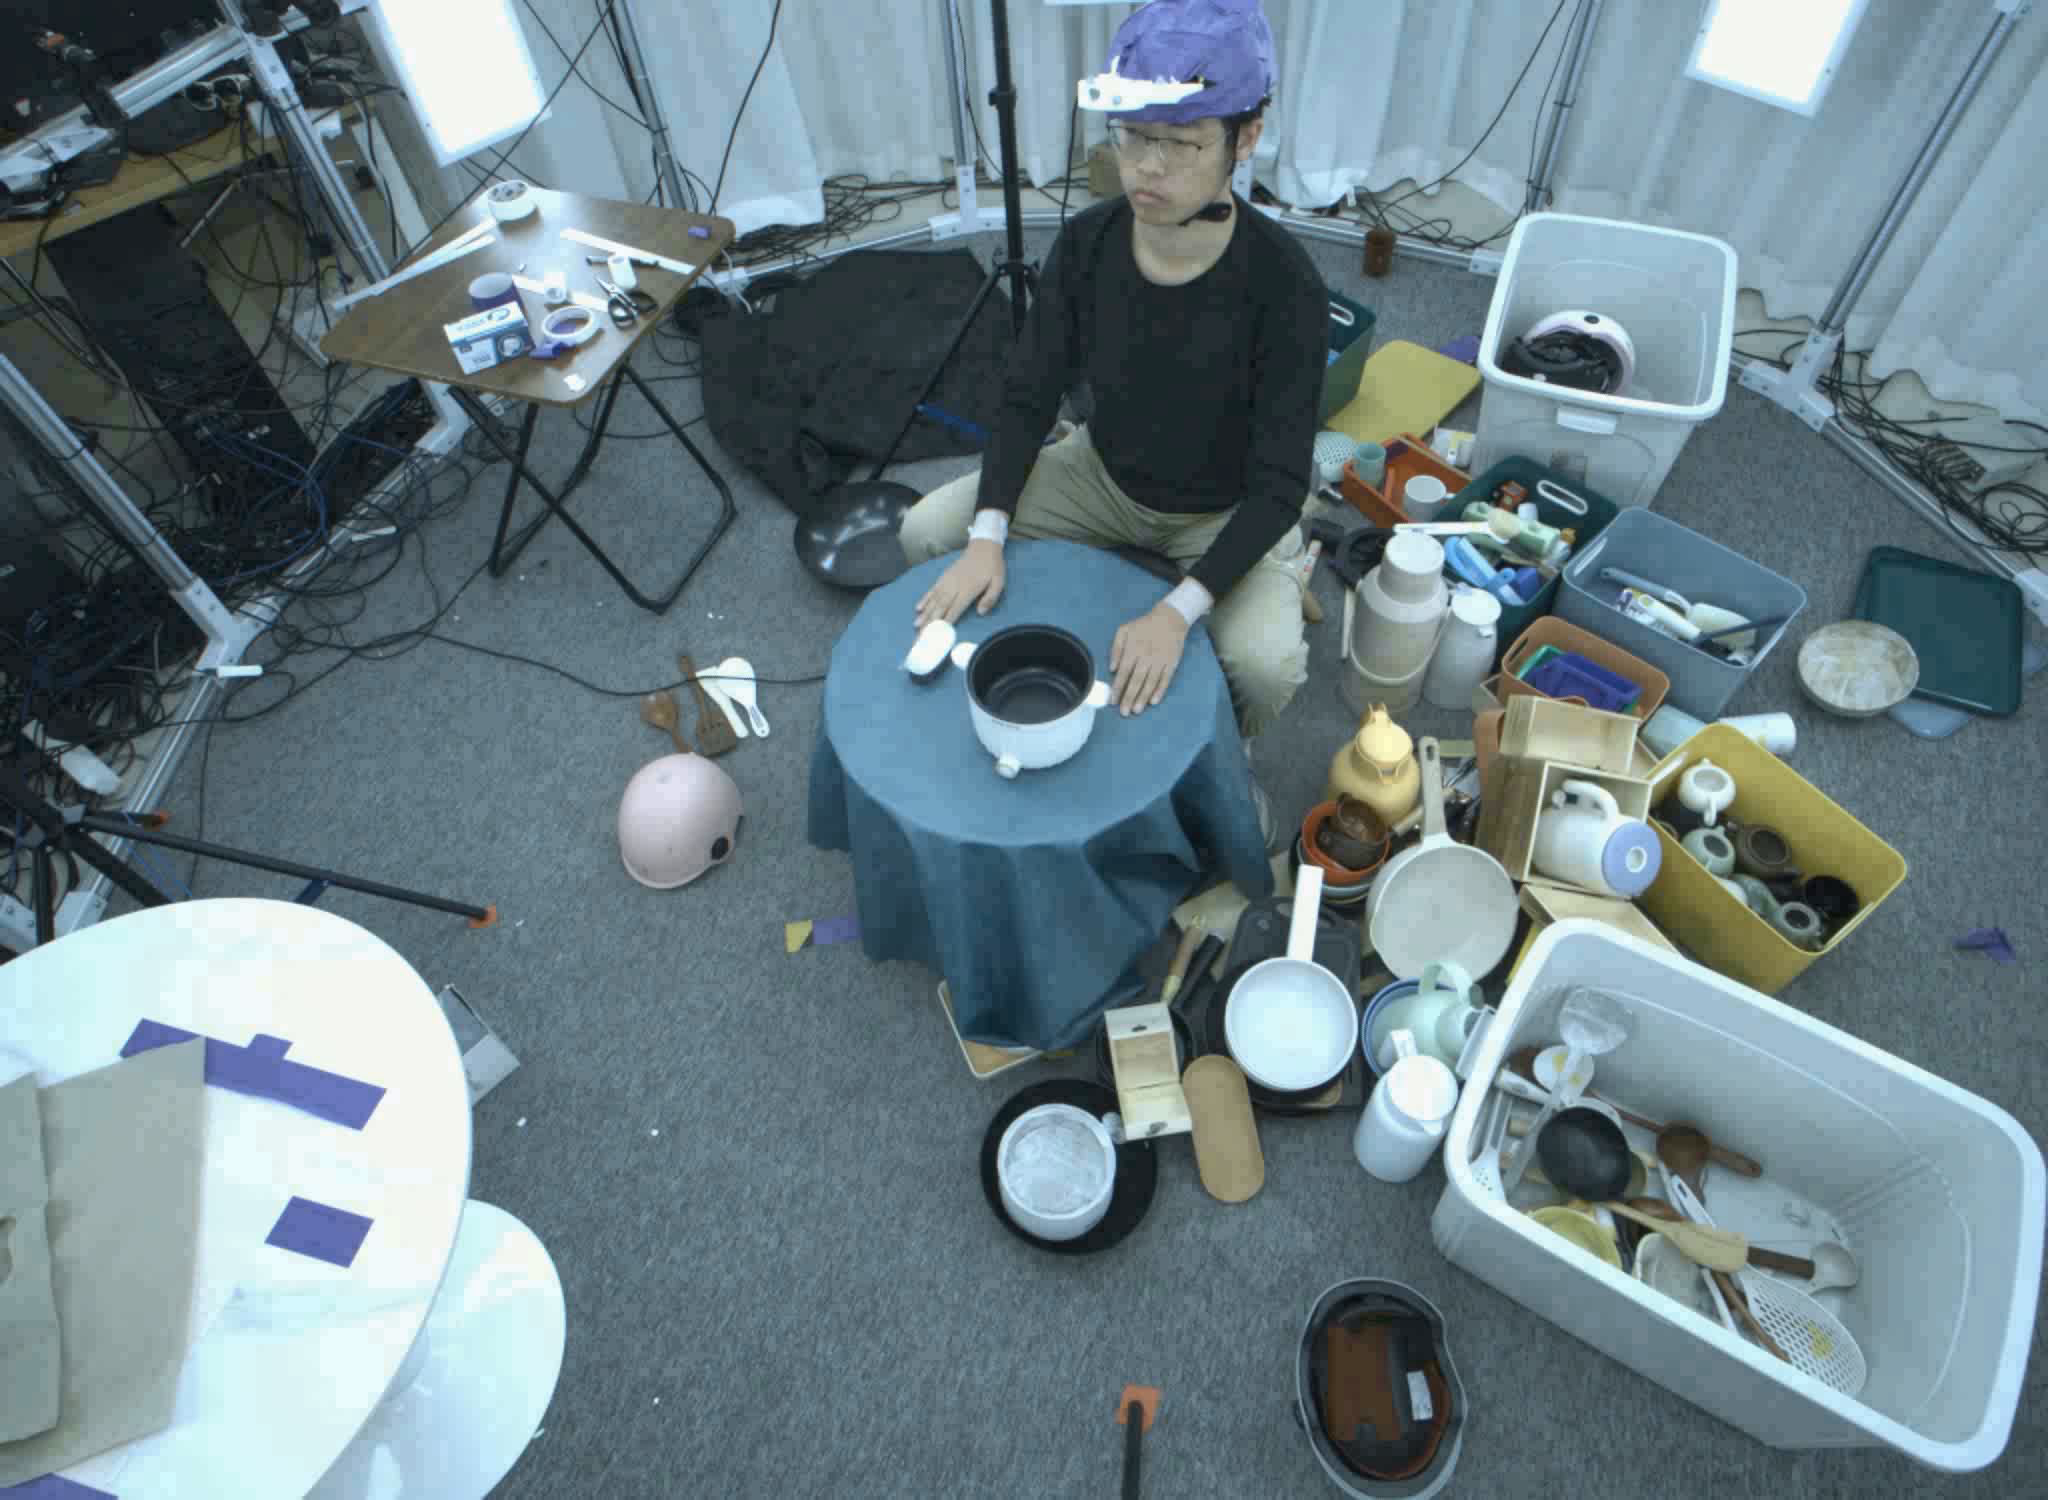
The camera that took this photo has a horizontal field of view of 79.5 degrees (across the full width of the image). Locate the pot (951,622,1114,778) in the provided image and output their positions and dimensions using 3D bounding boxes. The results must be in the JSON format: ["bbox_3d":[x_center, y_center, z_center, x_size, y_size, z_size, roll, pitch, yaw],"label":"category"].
[{"bbox_3d":[0.012,-0.065,1.749,0.237,0.144,0.190,16,54,15],"label":"pot"}]

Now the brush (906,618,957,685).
[{"bbox_3d":[-0.143,-0.157,1.859,0.049,0.073,0.099,25,60,19],"label":"brush"}]
